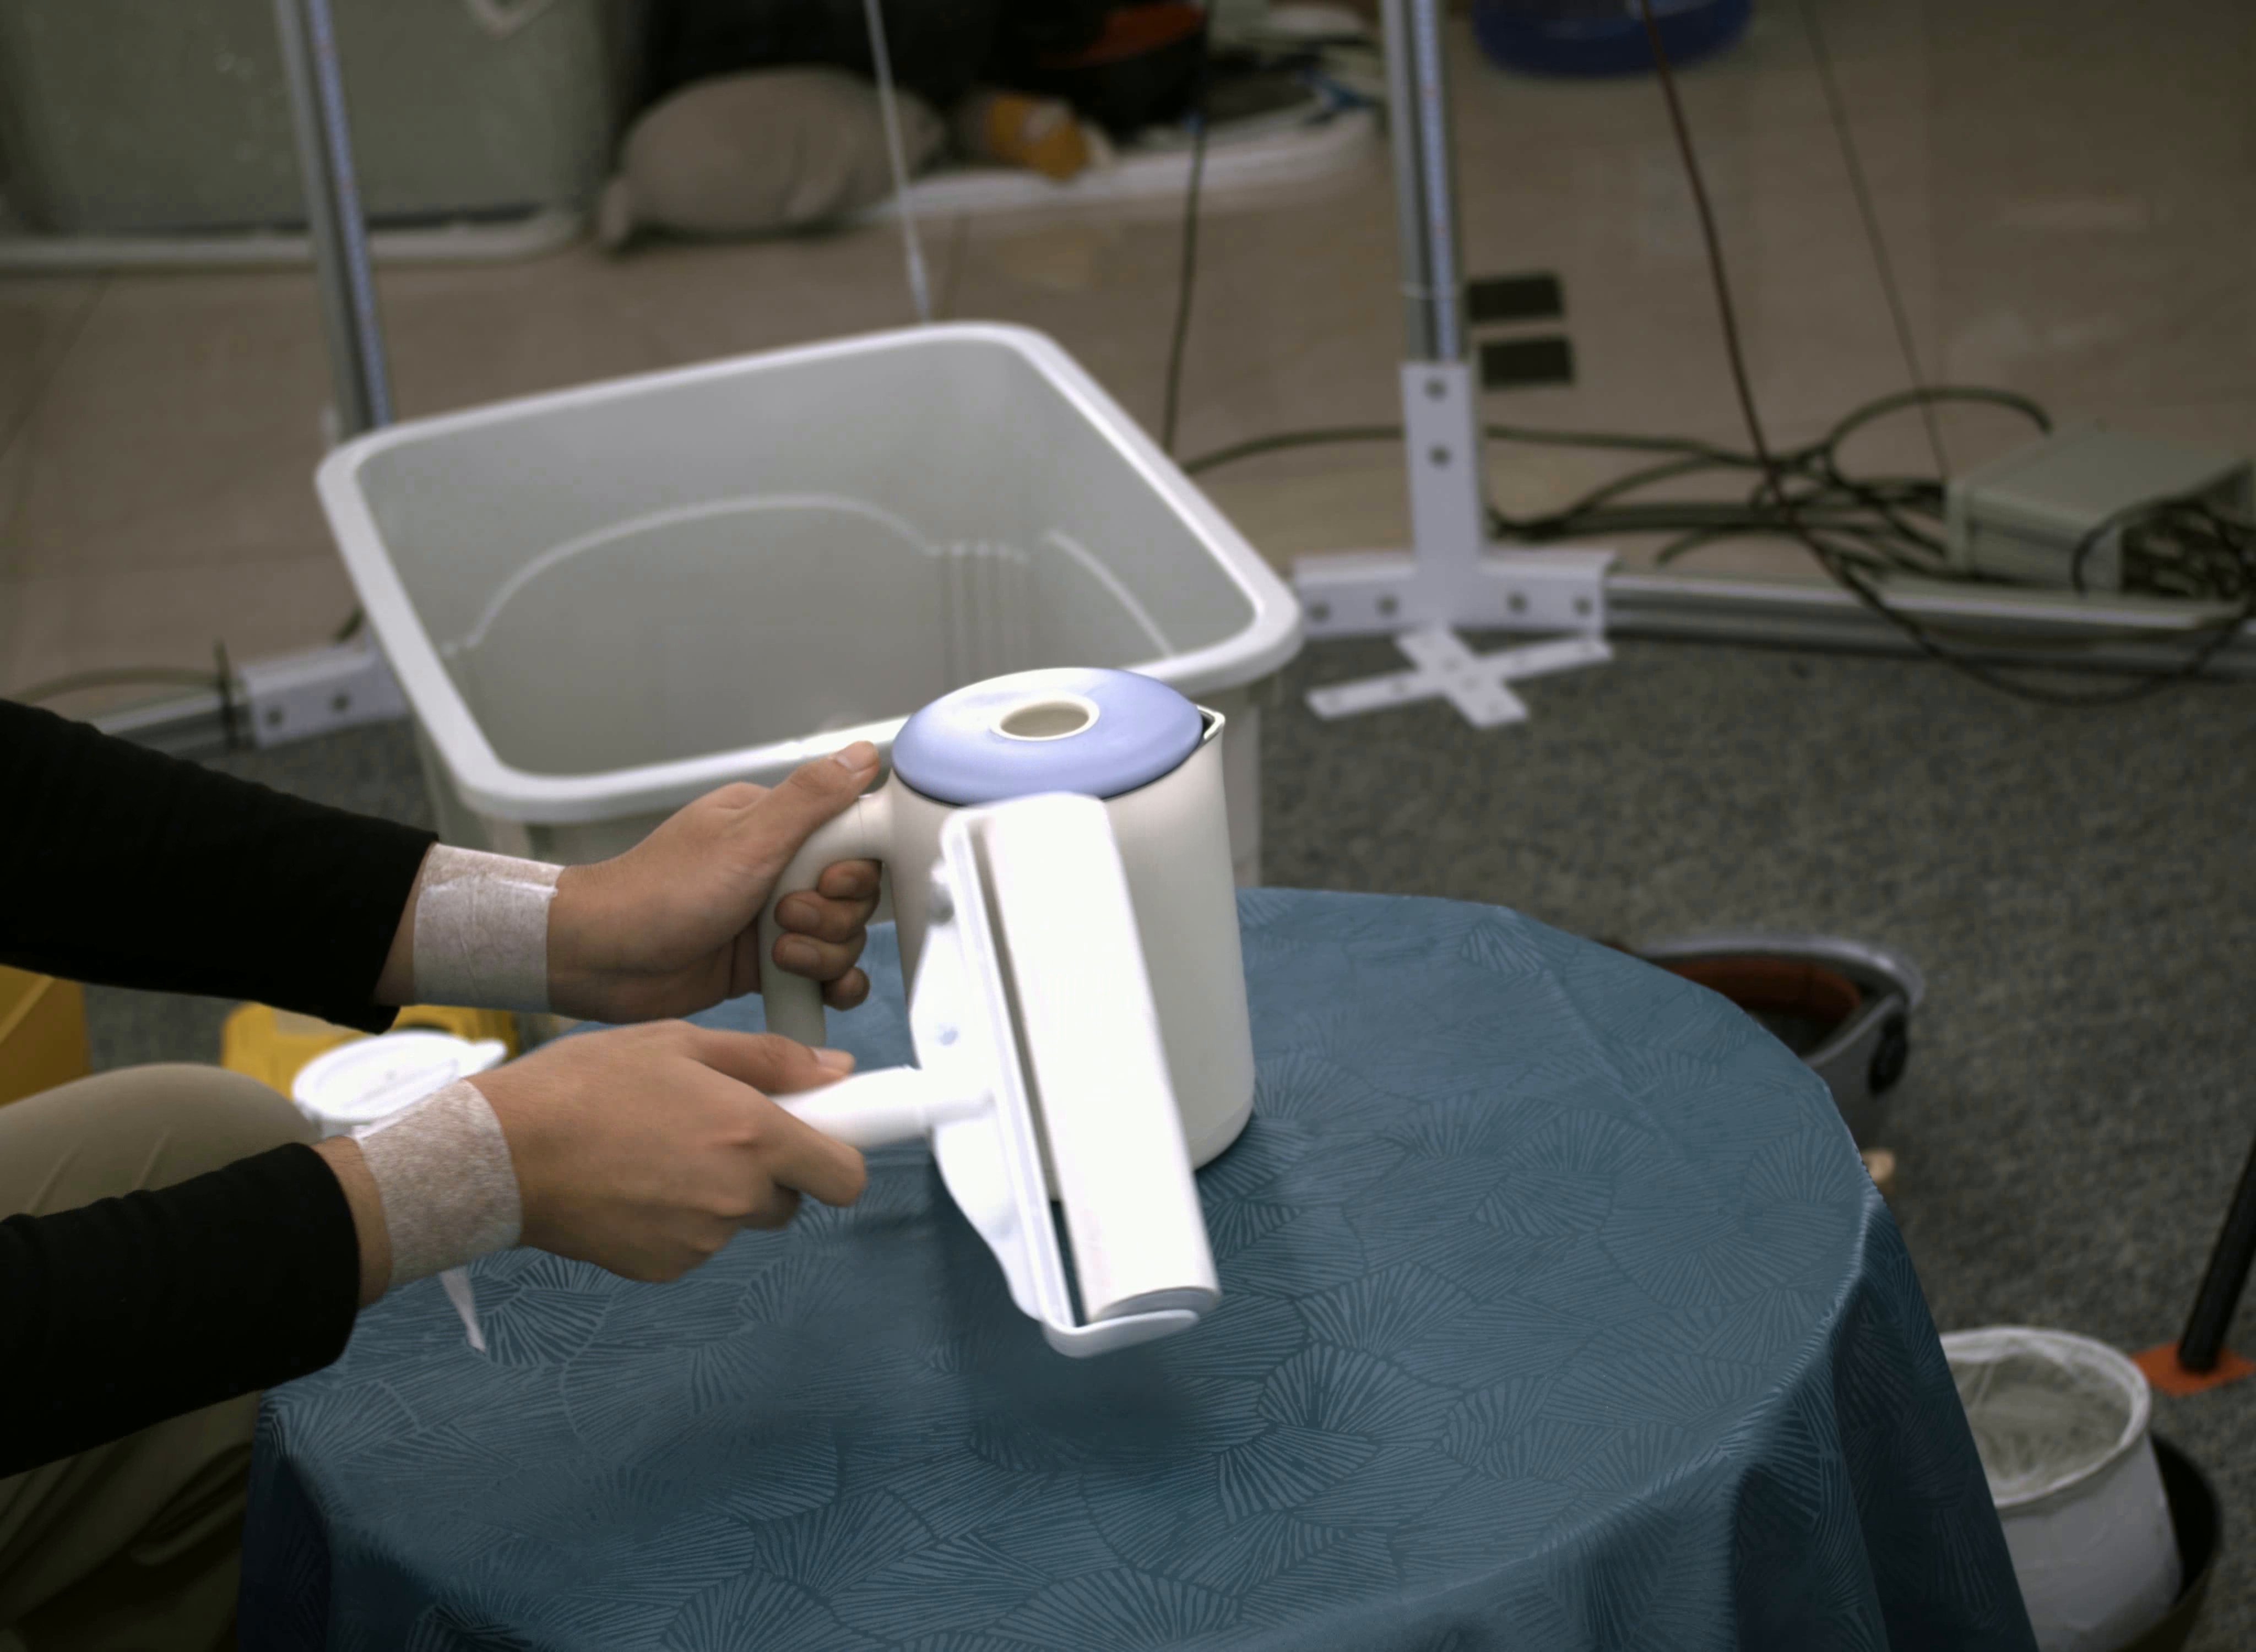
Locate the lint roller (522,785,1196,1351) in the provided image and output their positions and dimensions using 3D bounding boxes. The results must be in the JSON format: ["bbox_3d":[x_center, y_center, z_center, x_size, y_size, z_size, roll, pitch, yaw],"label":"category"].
[{"bbox_3d":[-0.103,0.098,2.002,0.225,0.201,0.049,-11,-16,-8],"label":"lint roller"}]

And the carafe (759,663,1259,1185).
[{"bbox_3d":[-0.046,0.044,2.156,0.190,0.185,0.130,-11,25,-5],"label":"carafe"}]
